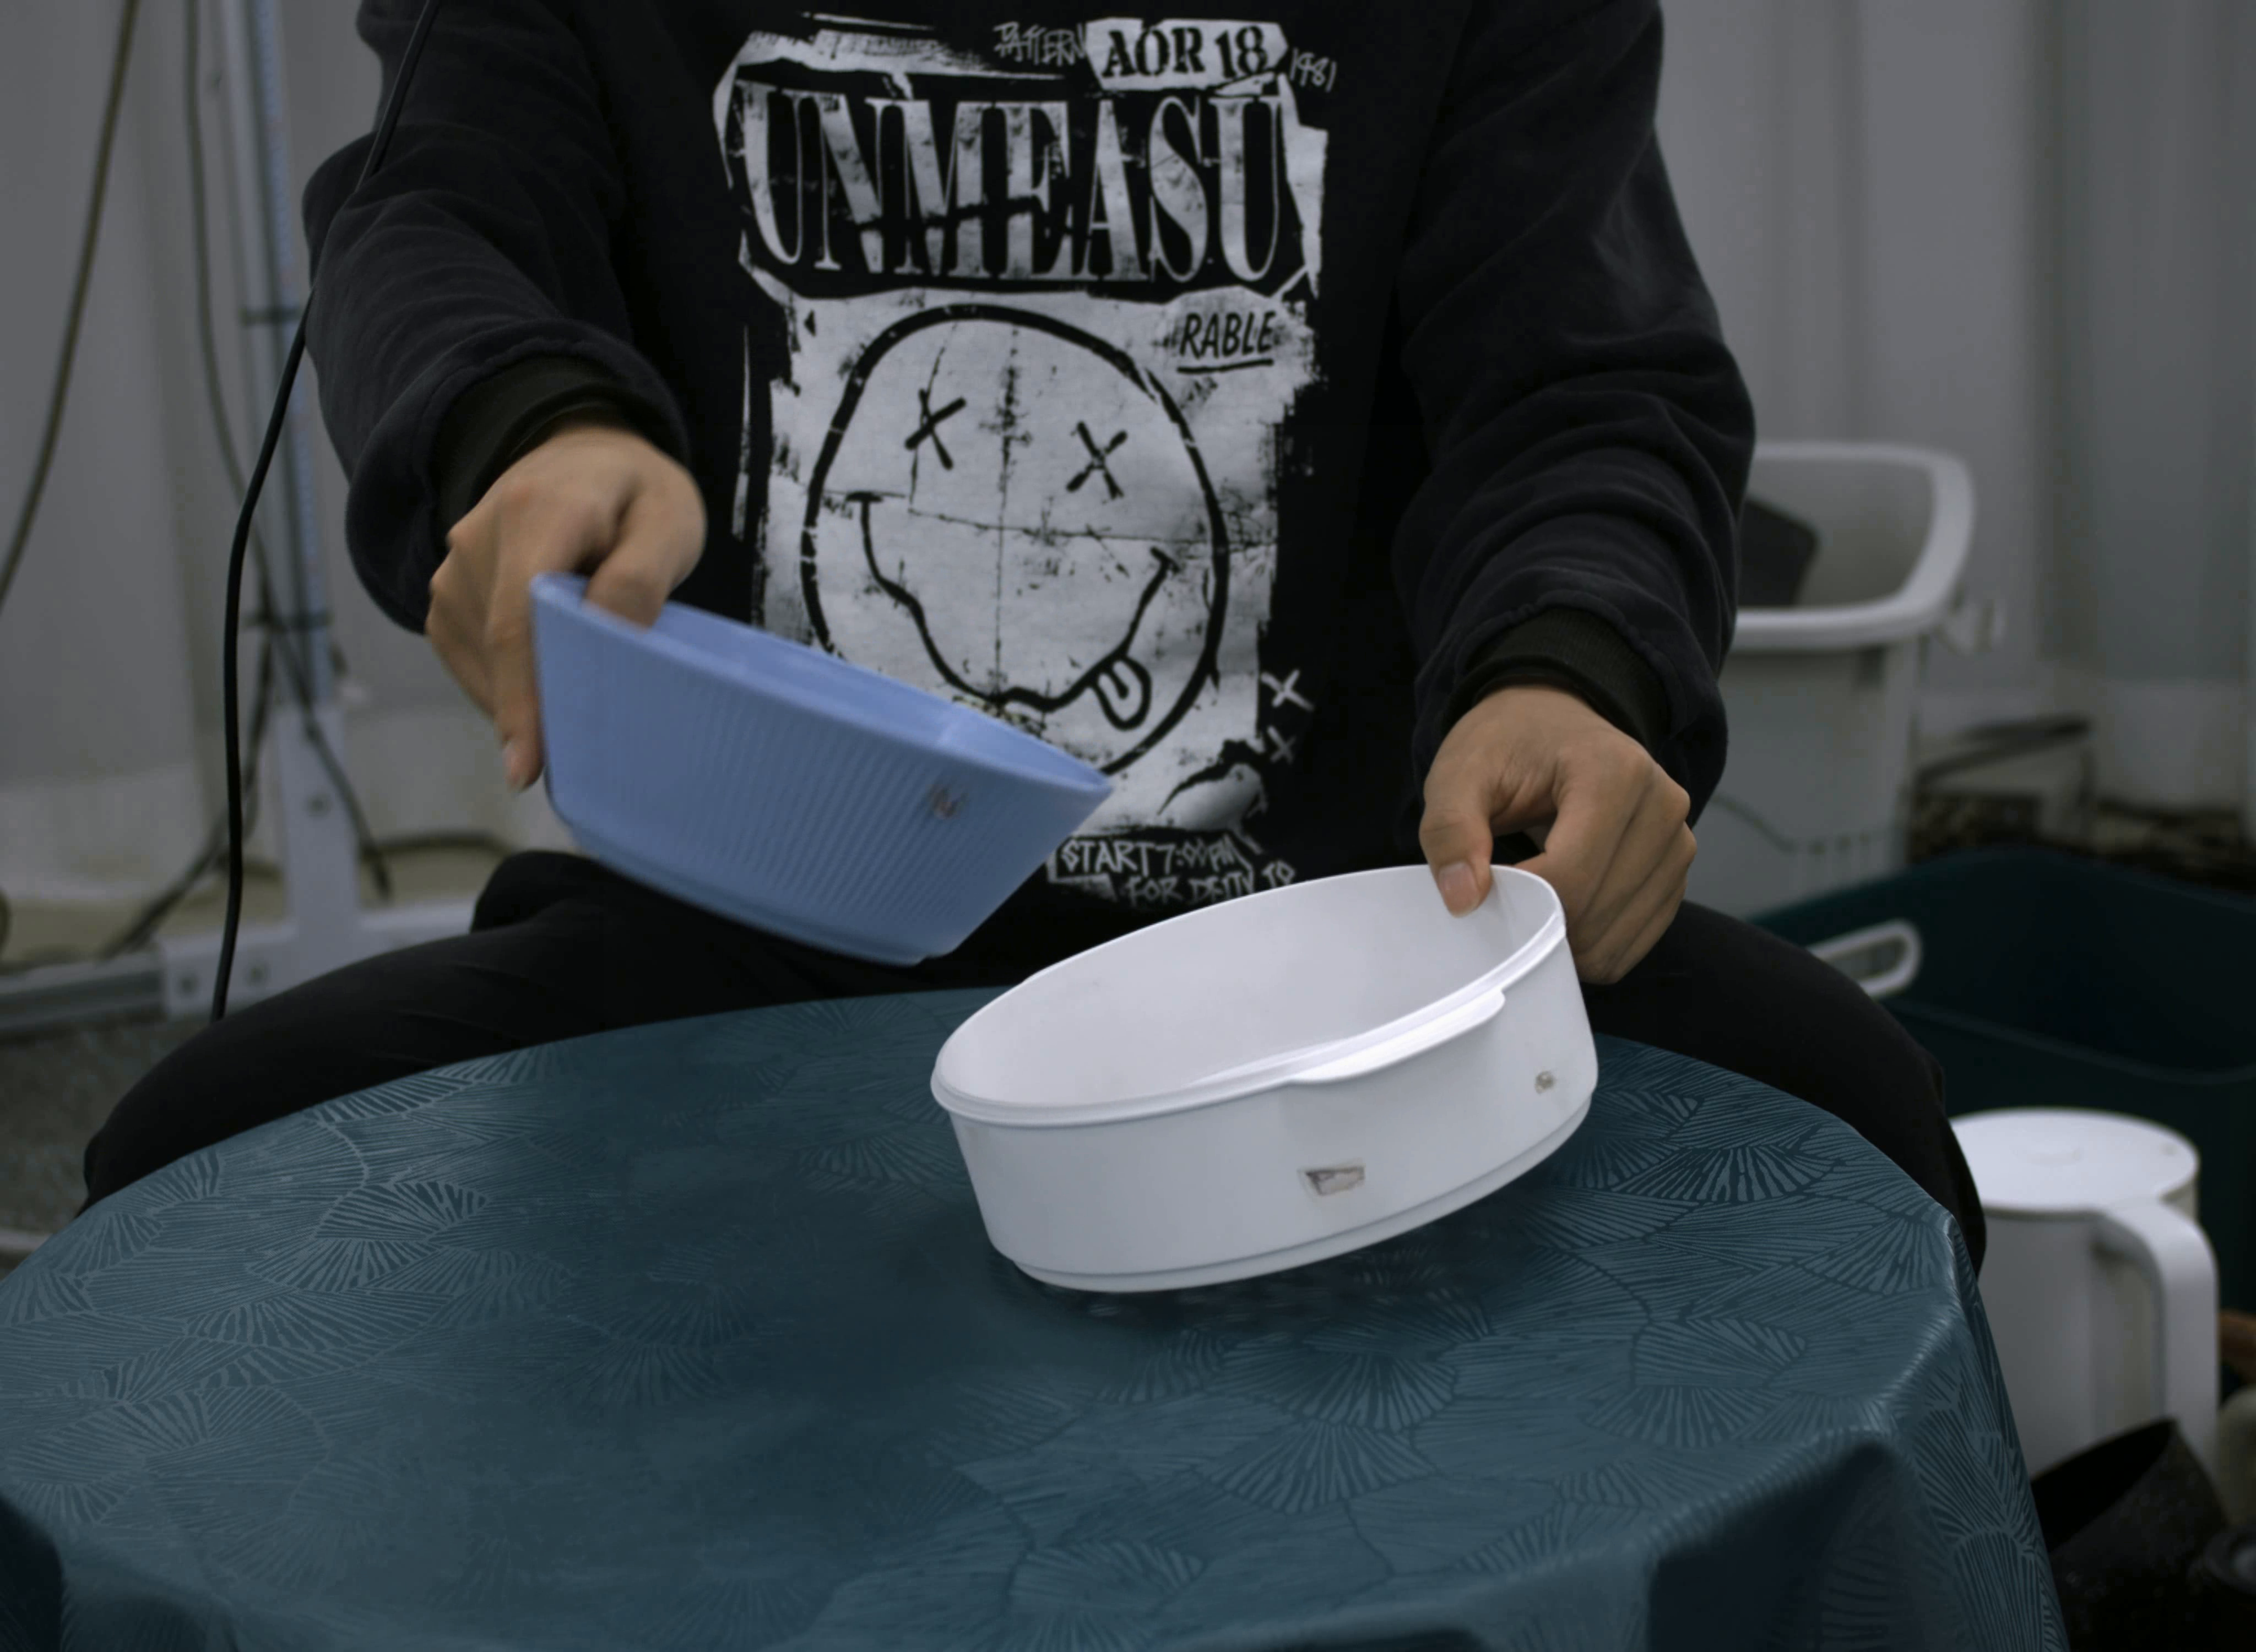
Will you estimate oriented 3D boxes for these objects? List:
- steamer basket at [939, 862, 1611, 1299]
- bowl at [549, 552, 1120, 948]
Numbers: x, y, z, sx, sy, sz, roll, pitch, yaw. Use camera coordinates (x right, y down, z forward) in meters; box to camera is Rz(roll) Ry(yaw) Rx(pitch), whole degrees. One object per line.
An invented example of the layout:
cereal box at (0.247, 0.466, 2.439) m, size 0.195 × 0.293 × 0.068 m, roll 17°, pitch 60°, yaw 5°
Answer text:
steamer basket at (0.047, 0.077, 1.653) m, size 0.201 × 0.069 × 0.232 m, roll -22°, pitch 17°, yaw -23°
bowl at (-0.095, -0.017, 1.565) m, size 0.175 × 0.070 × 0.176 m, roll 22°, pitch 3°, yaw -1°
